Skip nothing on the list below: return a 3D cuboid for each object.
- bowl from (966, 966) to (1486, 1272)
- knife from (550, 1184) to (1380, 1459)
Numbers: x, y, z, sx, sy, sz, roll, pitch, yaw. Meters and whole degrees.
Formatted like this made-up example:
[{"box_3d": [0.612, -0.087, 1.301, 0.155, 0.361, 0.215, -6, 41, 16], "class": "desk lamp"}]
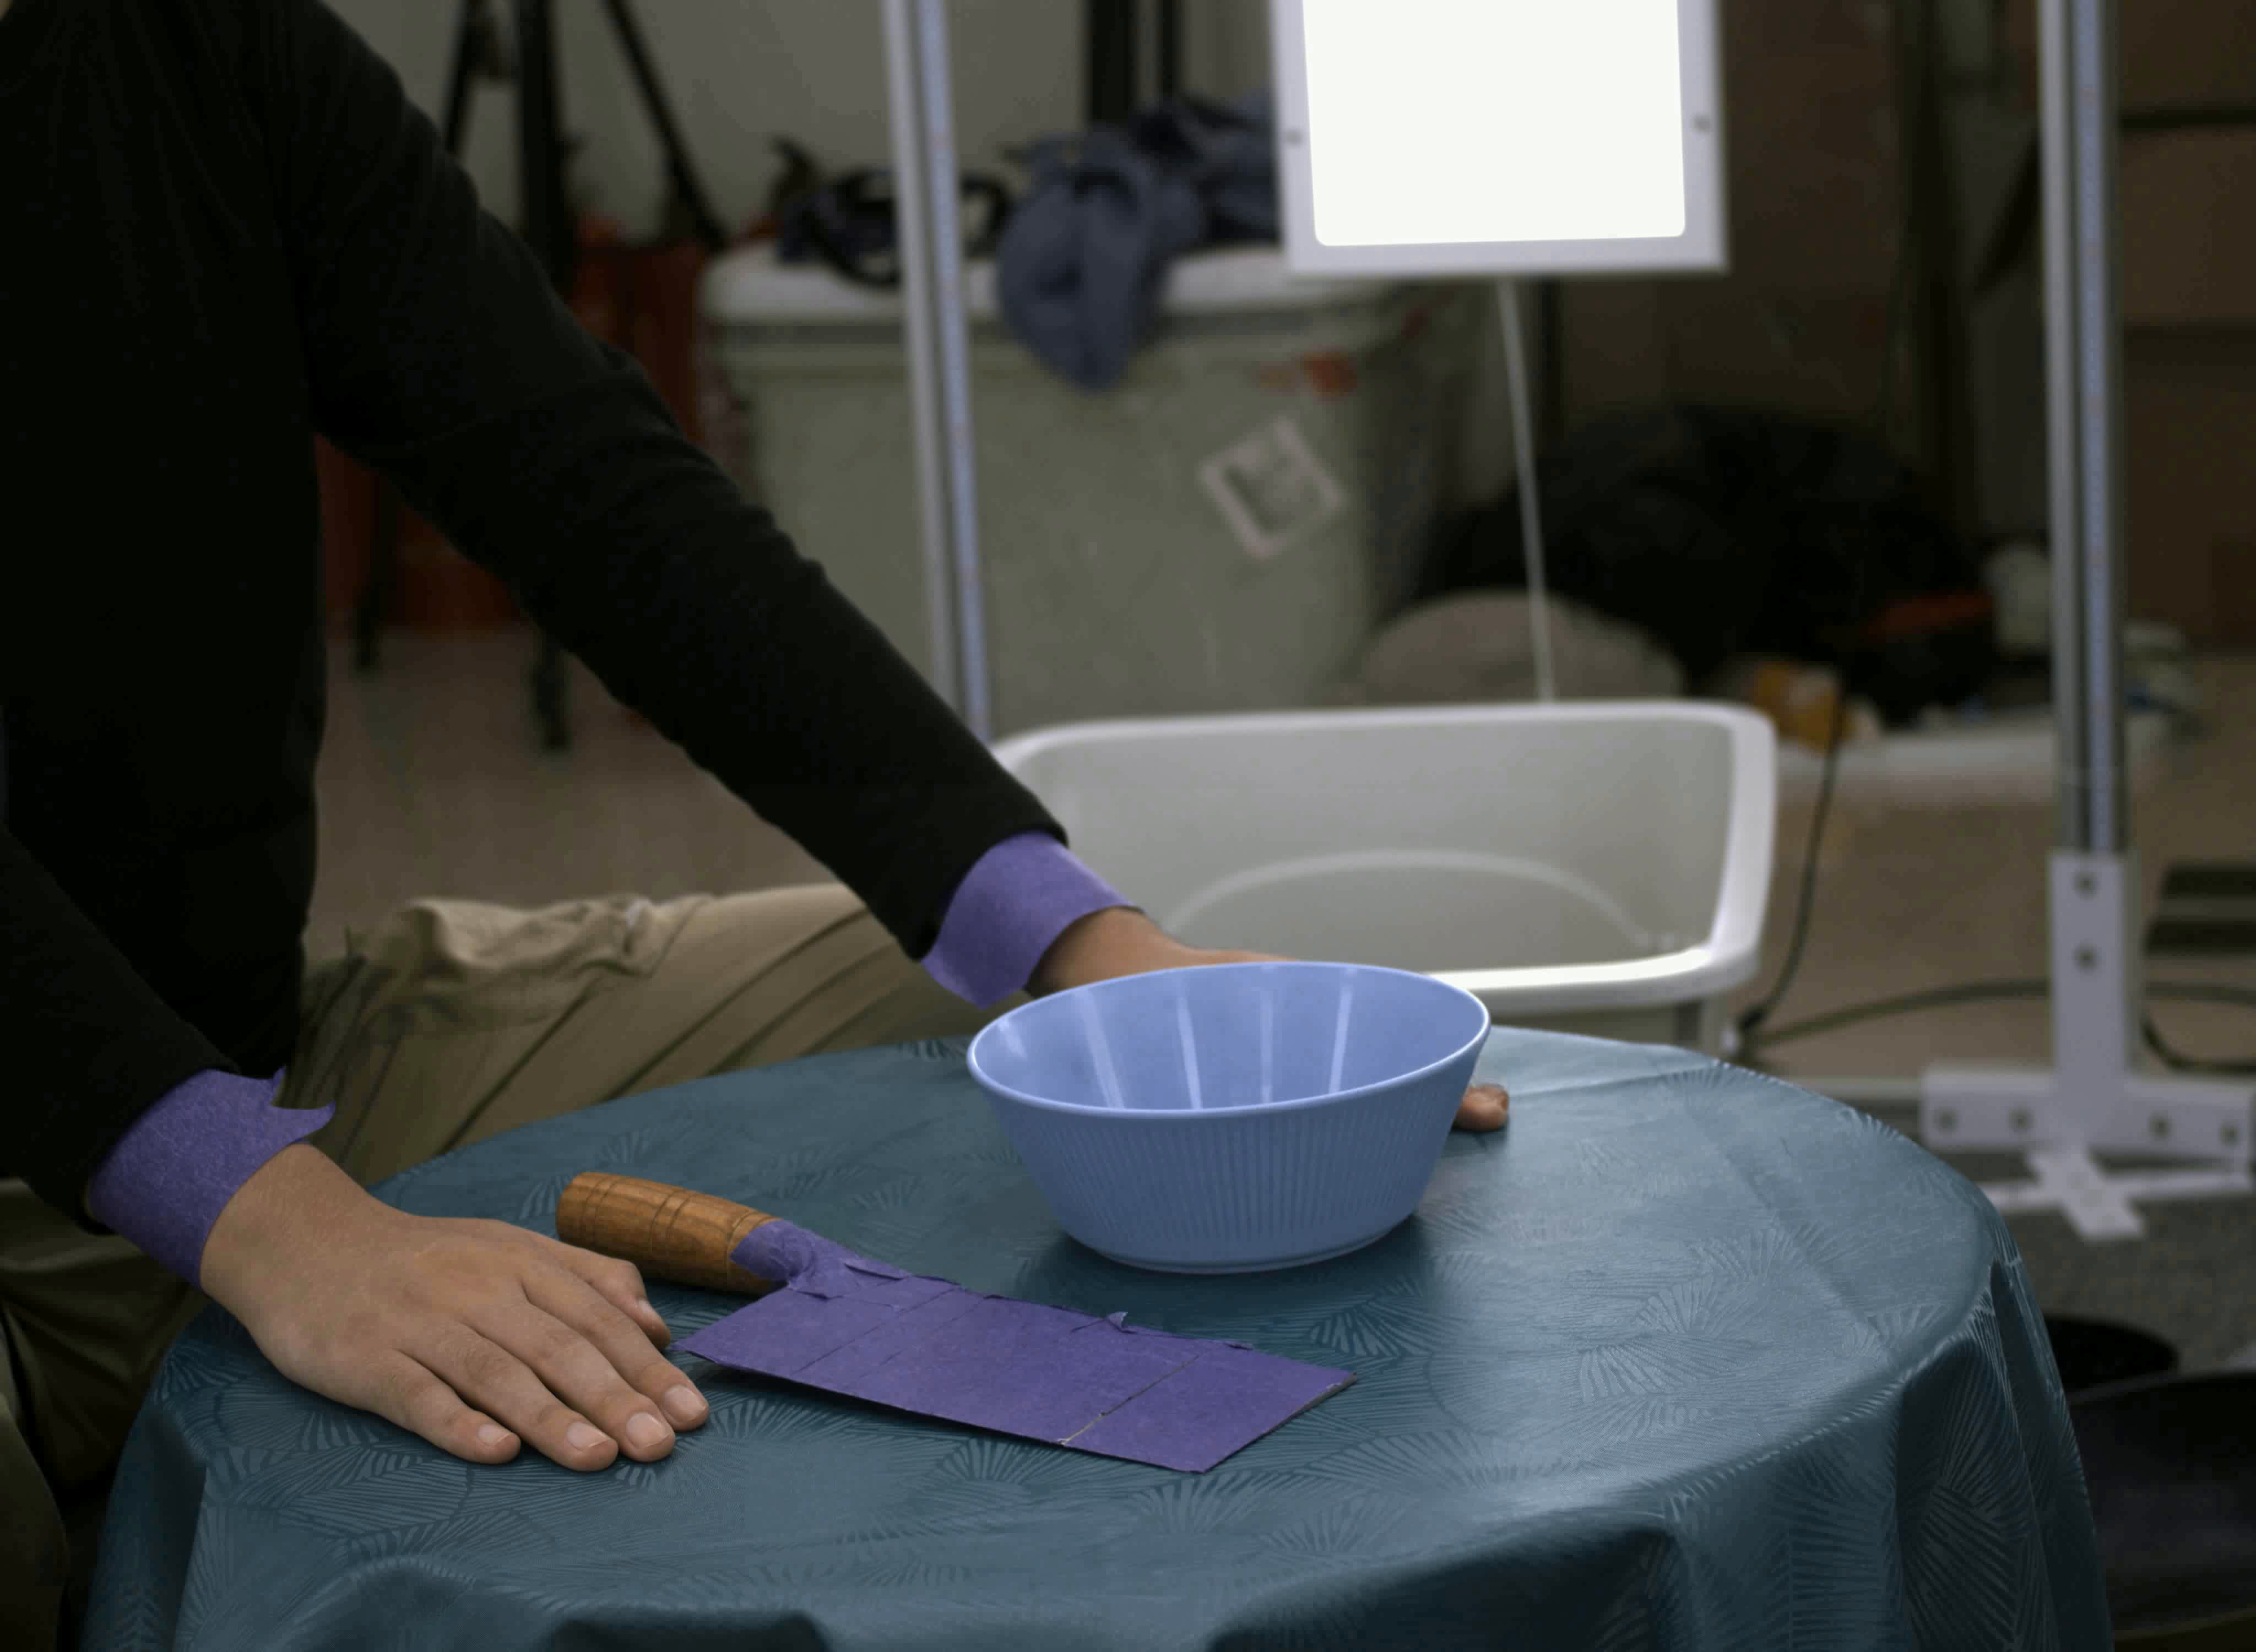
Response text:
[{"box_3d": [0.035, 0.100, 1.843, 0.175, 0.070, 0.176, -5, 13, 0], "class": "bowl"}, {"box_3d": [-0.076, 0.156, 1.752, 0.322, 0.032, 0.101, 6, 17, 36], "class": "knife"}]
